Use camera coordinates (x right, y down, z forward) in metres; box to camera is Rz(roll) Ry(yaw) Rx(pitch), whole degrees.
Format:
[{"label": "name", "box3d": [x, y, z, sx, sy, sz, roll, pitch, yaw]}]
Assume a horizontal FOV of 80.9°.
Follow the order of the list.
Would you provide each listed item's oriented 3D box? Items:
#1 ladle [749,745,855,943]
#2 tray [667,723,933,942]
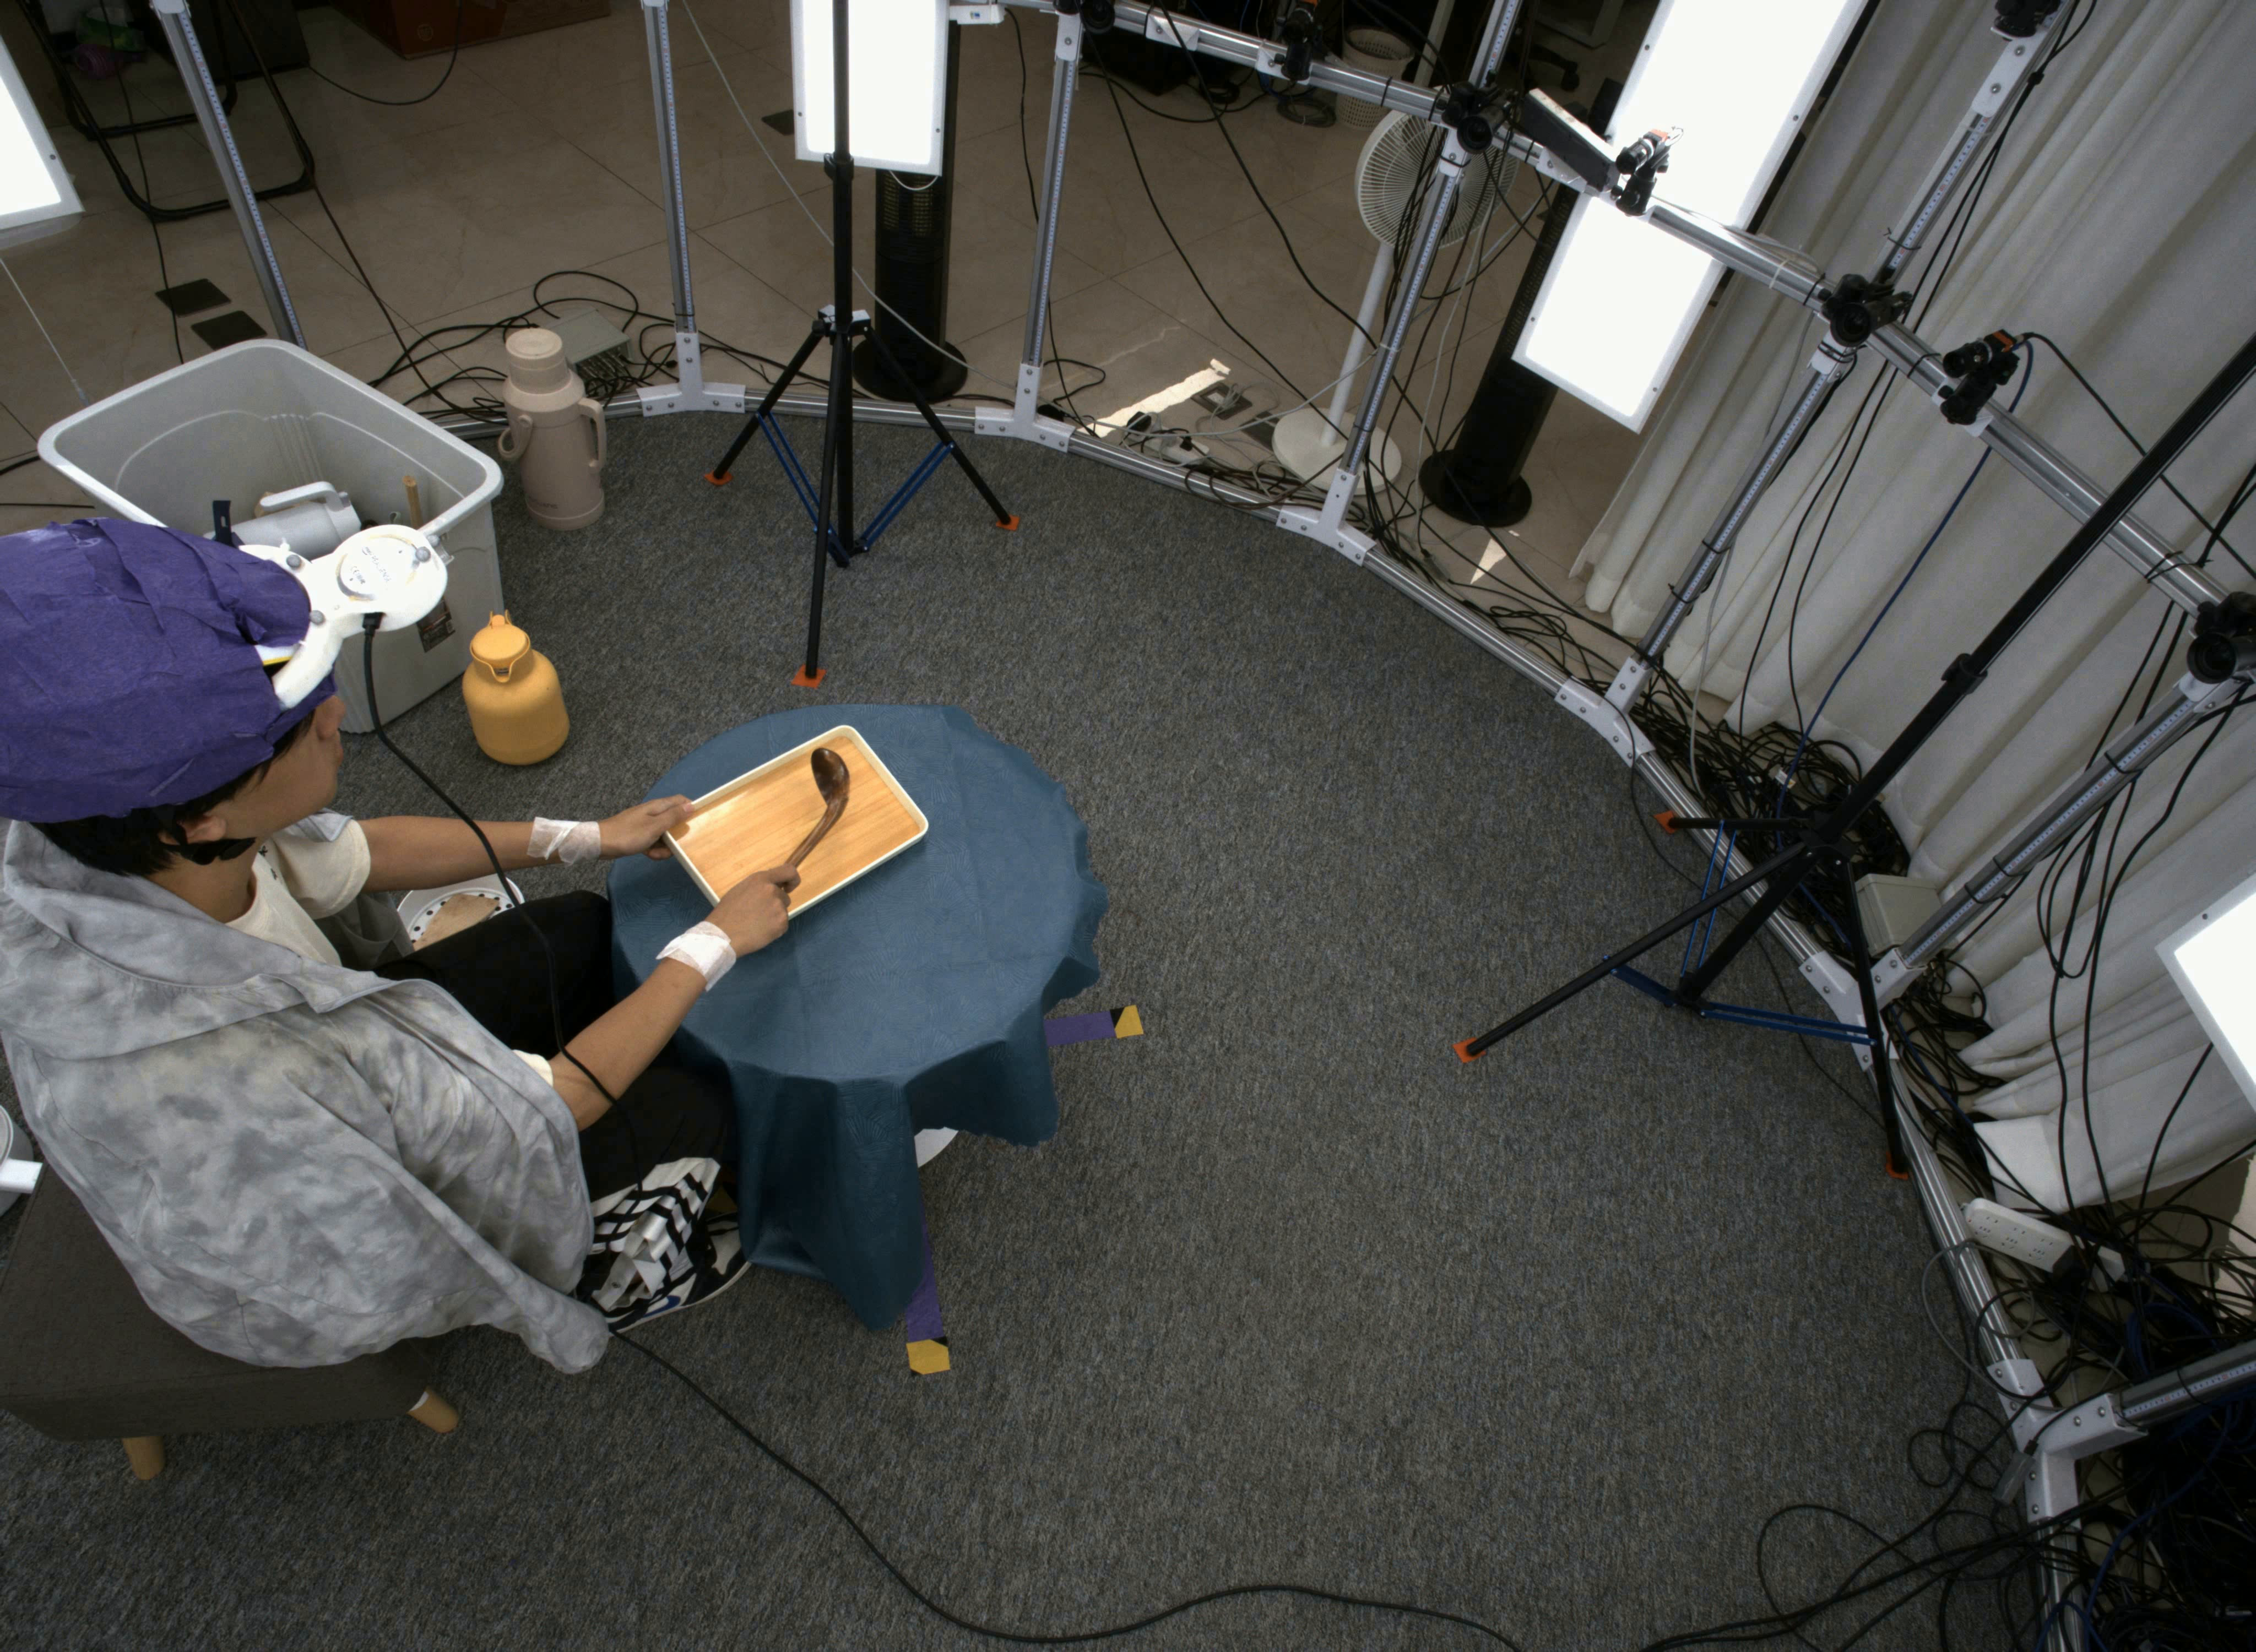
[{"label": "ladle", "box3d": [-0.408, 0.014, 1.564, 0.075, 0.083, 0.272, 24, 55, 6]}, {"label": "tray", "box3d": [-0.416, 0.001, 1.664, 0.301, 0.027, 0.191, -34, 84, -36]}]
